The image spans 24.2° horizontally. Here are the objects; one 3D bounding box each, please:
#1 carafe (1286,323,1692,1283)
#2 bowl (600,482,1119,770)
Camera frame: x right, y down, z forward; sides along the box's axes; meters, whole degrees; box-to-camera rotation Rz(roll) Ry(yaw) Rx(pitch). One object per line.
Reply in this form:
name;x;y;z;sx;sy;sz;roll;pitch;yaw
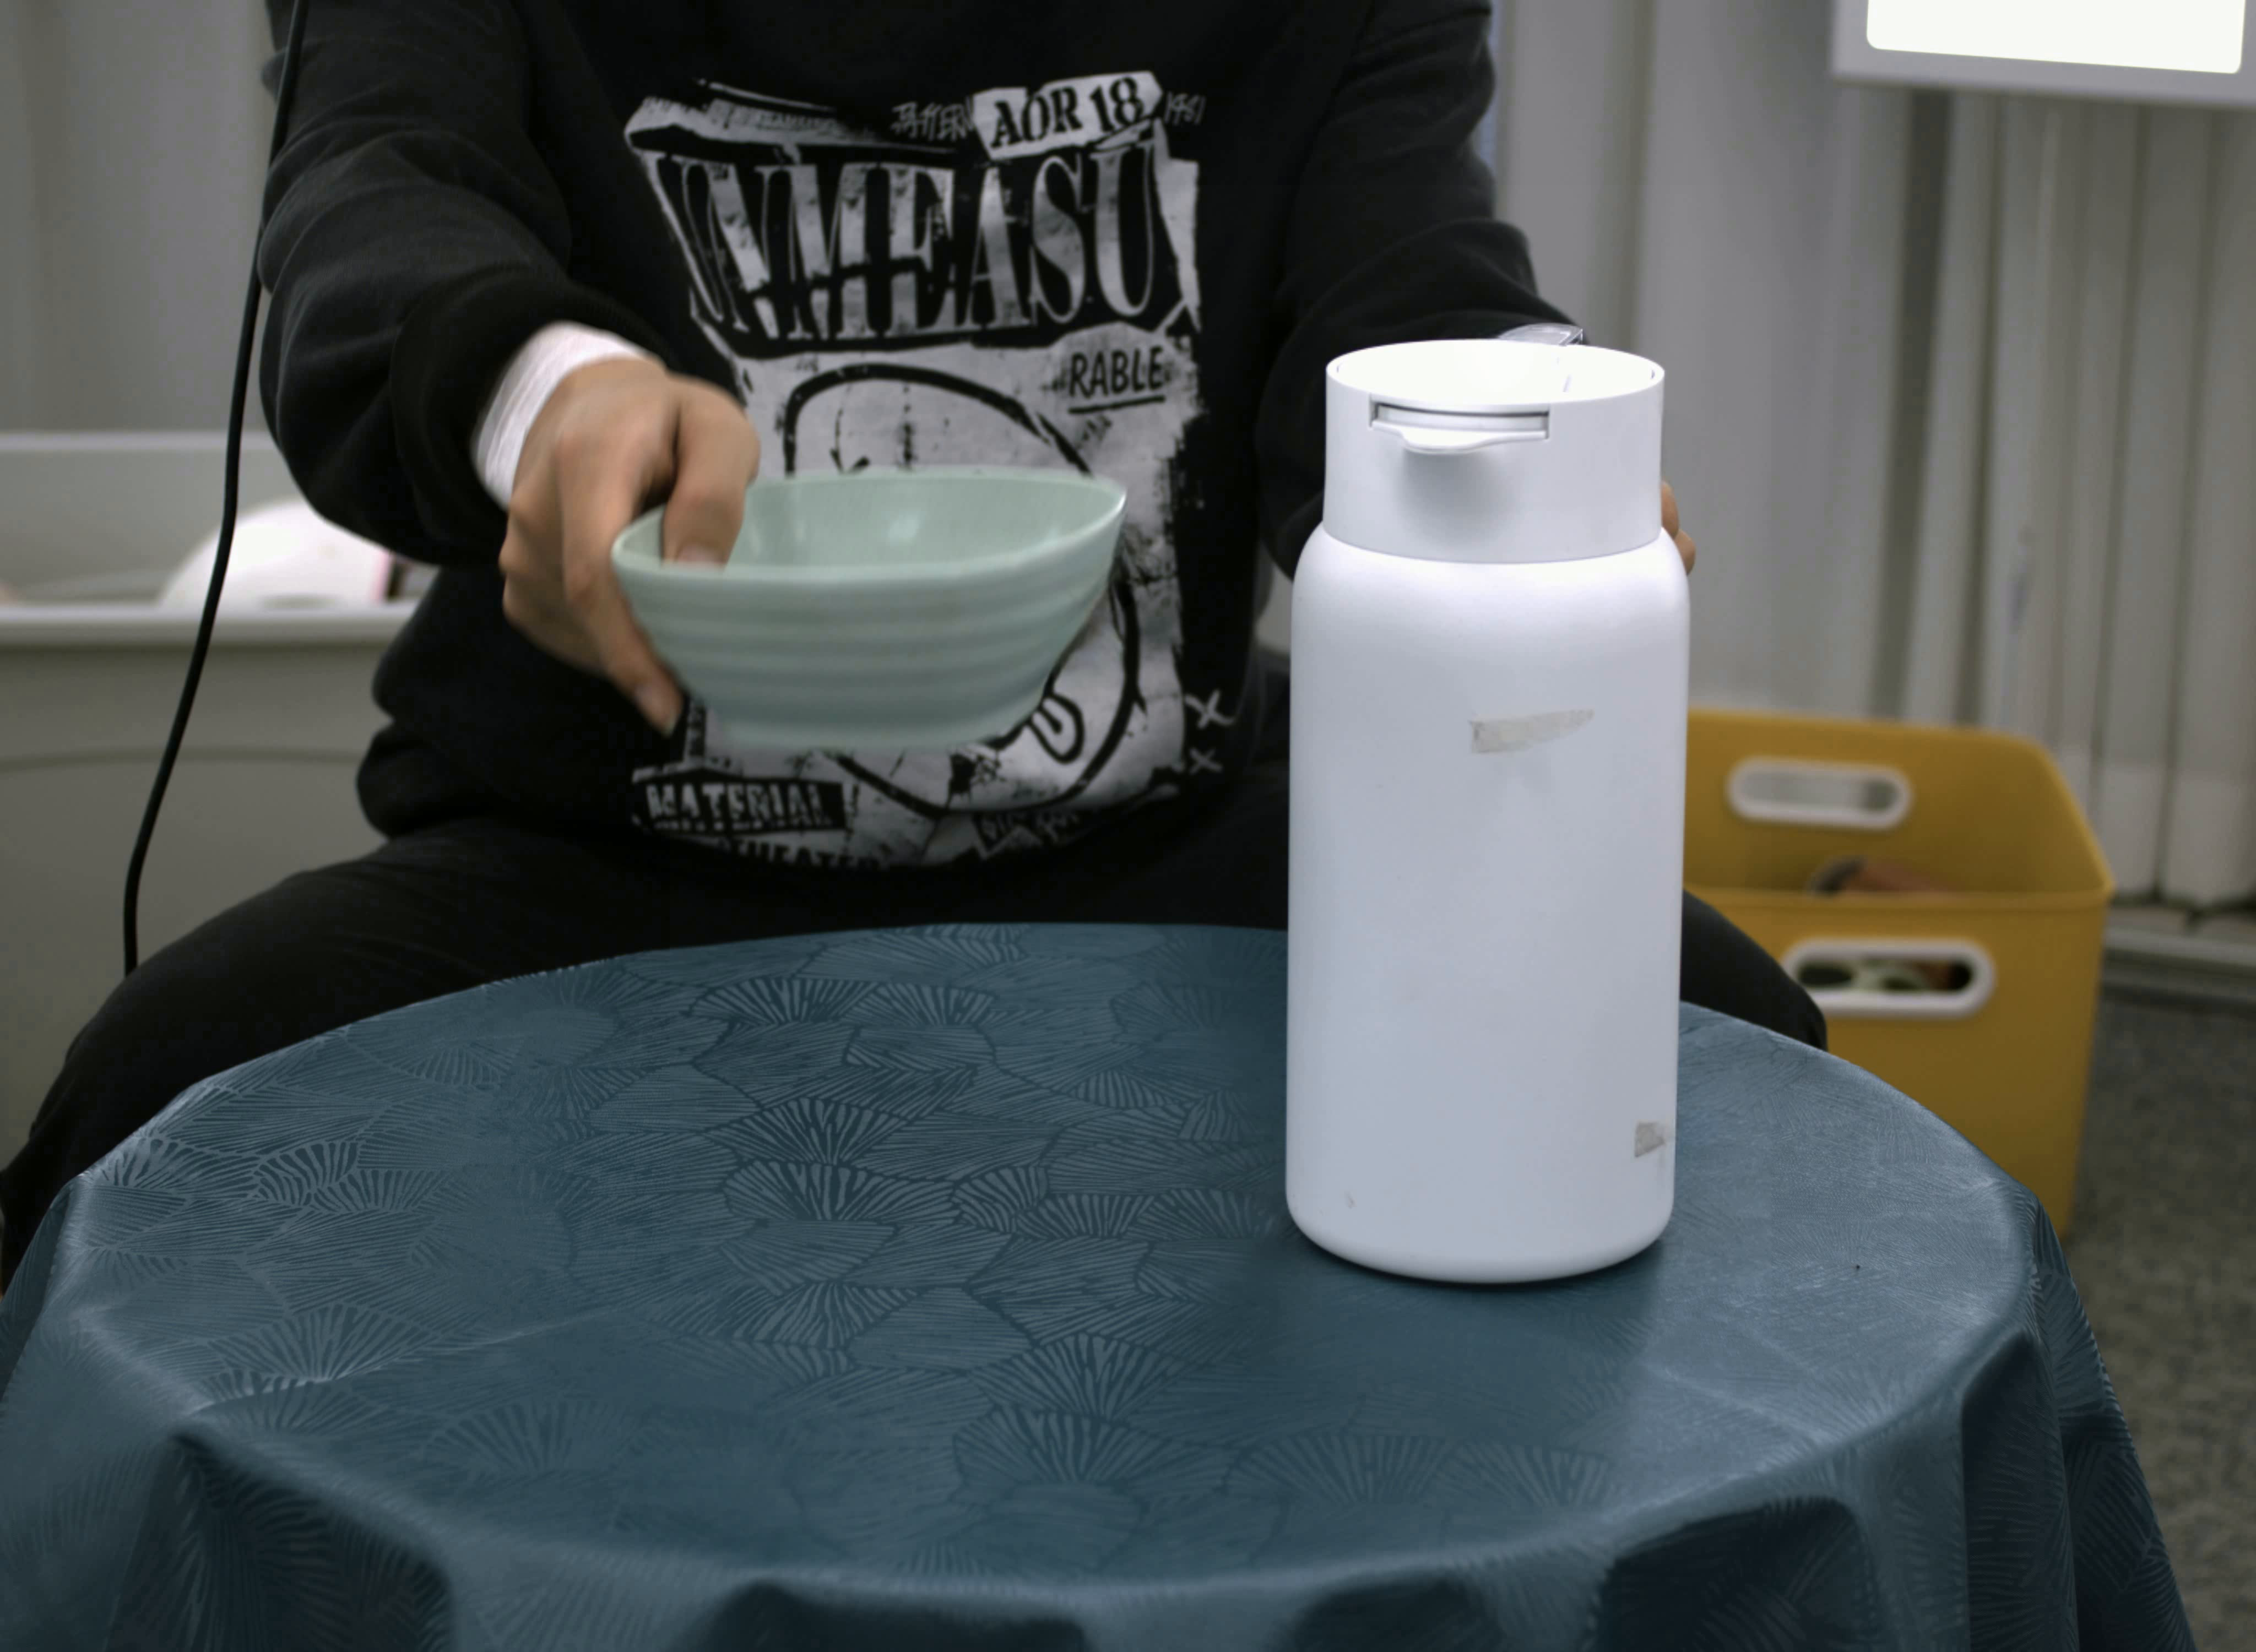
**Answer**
carafe;0.110;-0.011;1.571;0.123;0.271;0.173;3;16;16
bowl;-0.073;-0.054;1.476;0.151;0.059;0.150;-2;15;1
